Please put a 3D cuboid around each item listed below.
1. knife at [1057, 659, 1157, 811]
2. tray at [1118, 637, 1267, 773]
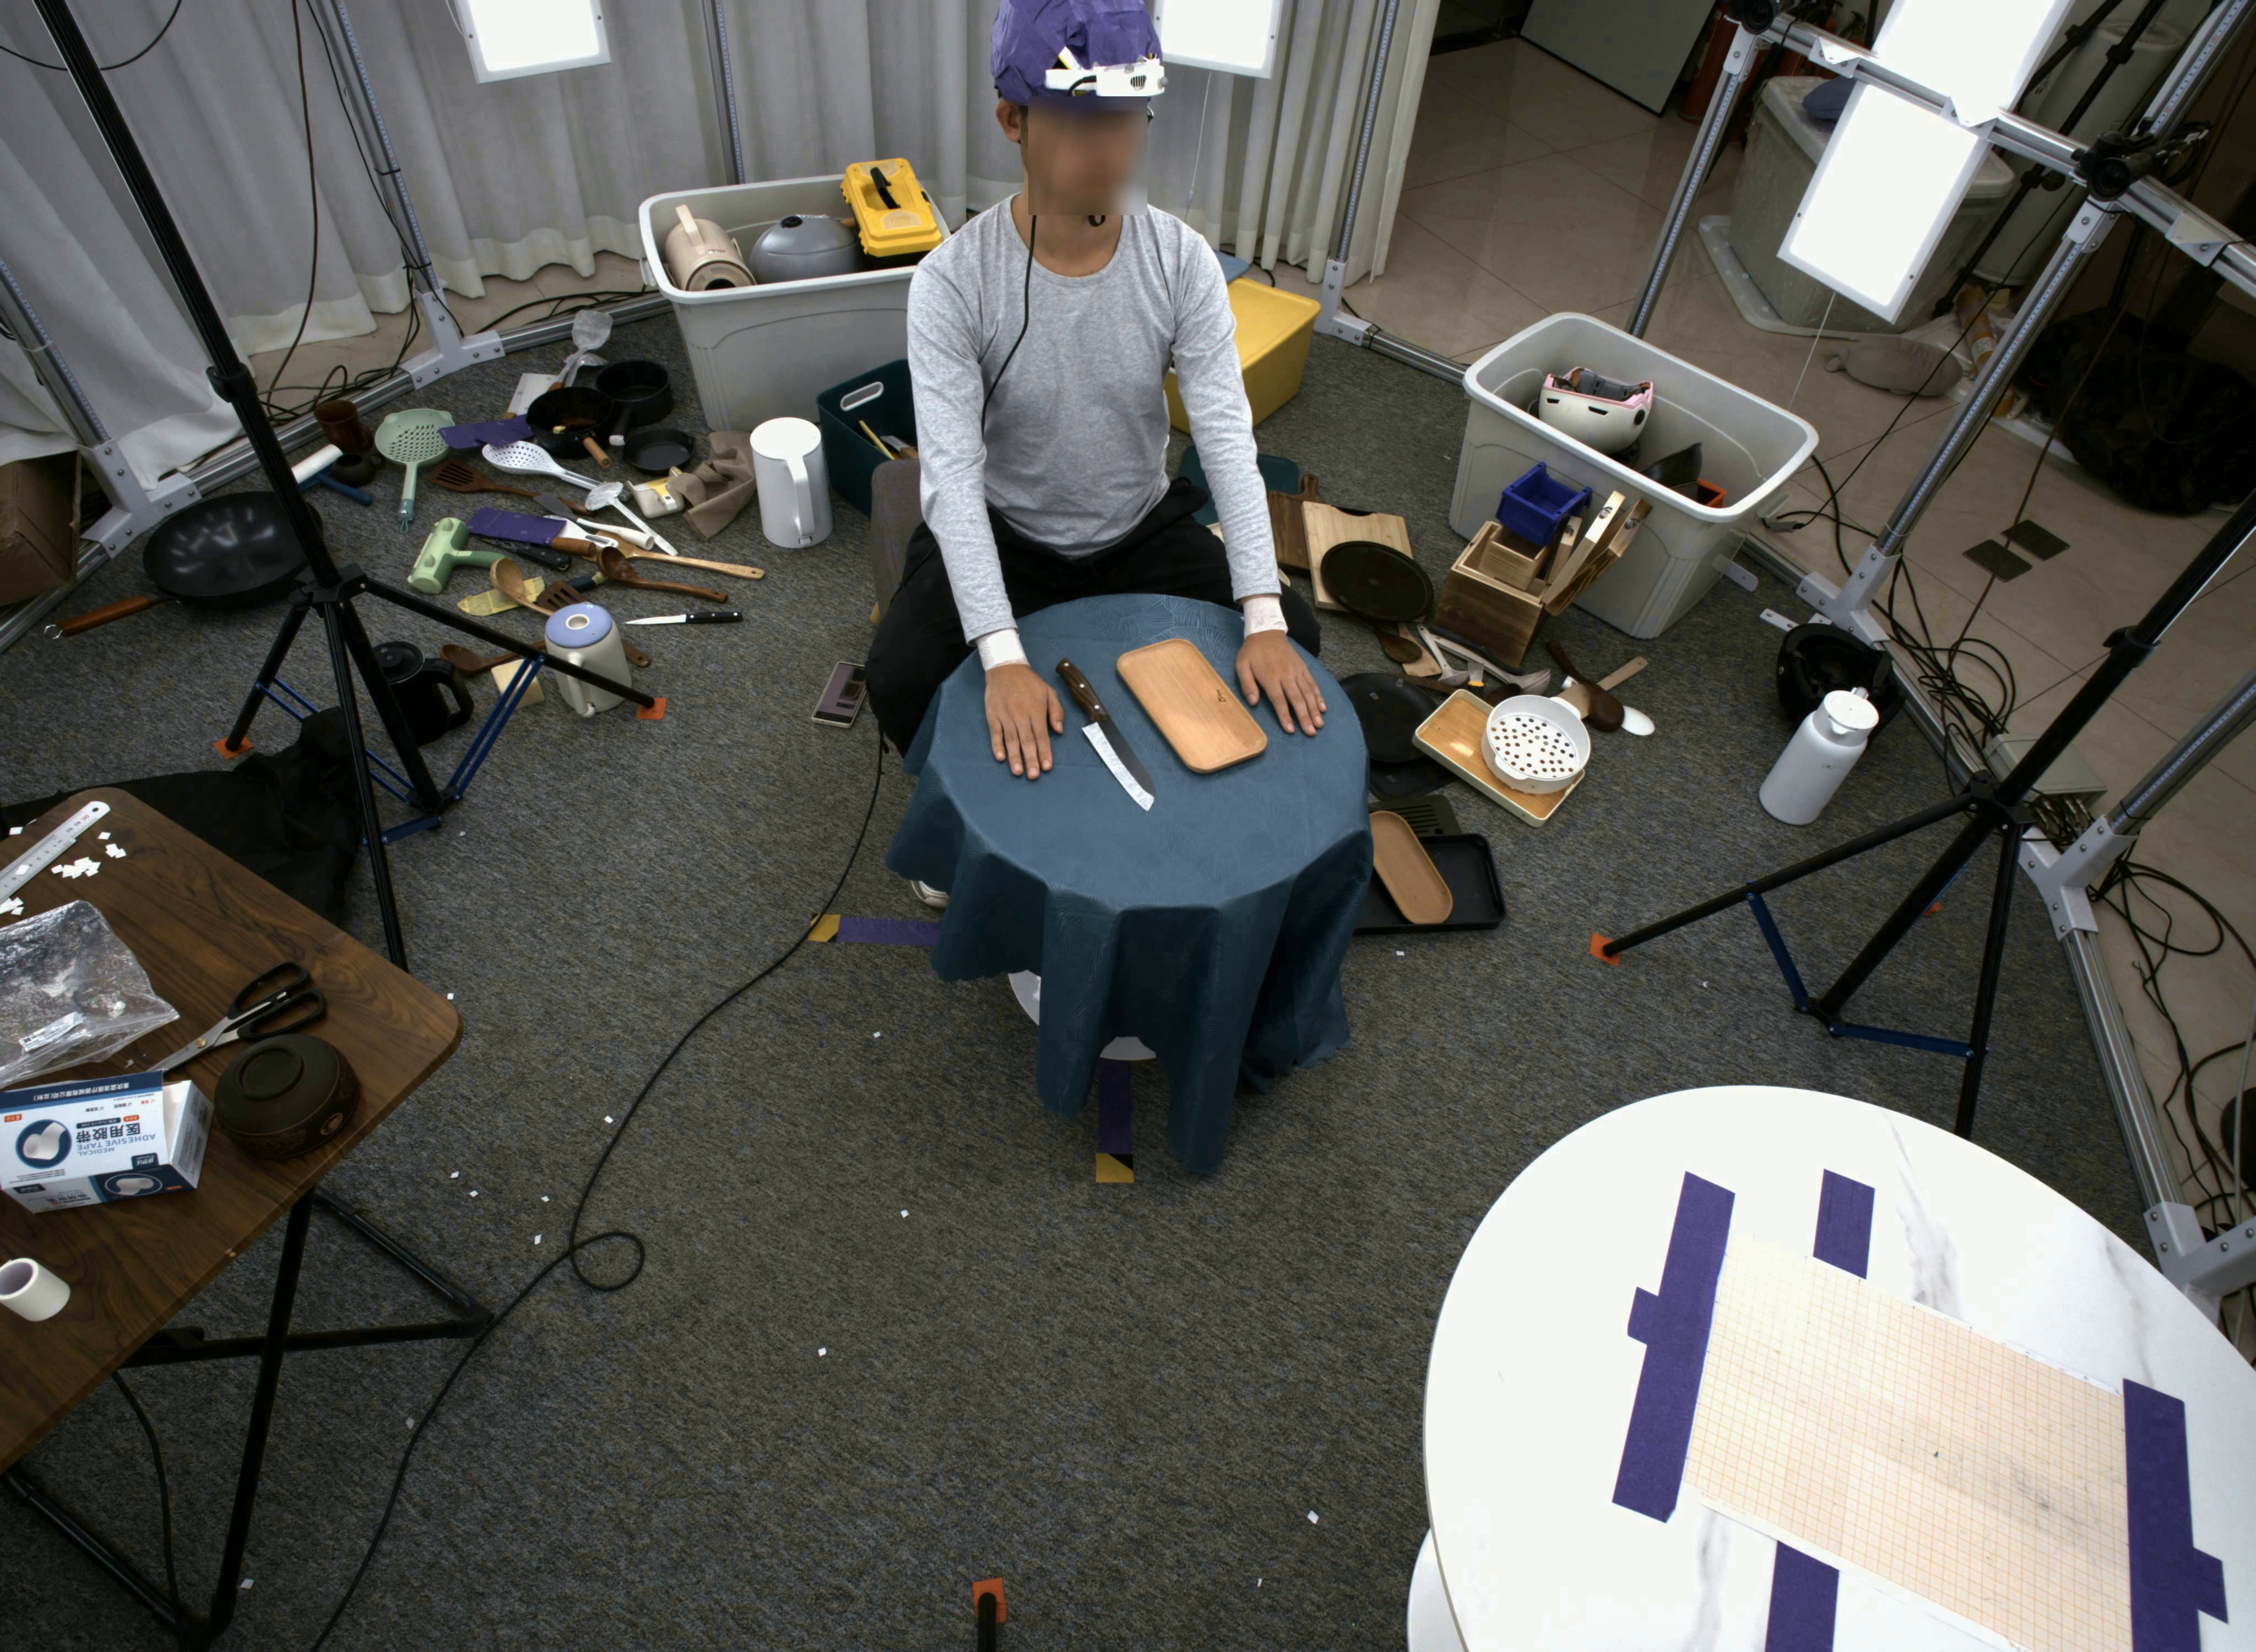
[{"bbox_3d":[-0.032,-0.128,1.767,0.050,0.019,0.295,-20,56,-14],"label":"knife"},{"bbox_3d":[0.088,-0.173,1.814,0.131,0.022,0.256,-17,52,-20],"label":"tray"}]
